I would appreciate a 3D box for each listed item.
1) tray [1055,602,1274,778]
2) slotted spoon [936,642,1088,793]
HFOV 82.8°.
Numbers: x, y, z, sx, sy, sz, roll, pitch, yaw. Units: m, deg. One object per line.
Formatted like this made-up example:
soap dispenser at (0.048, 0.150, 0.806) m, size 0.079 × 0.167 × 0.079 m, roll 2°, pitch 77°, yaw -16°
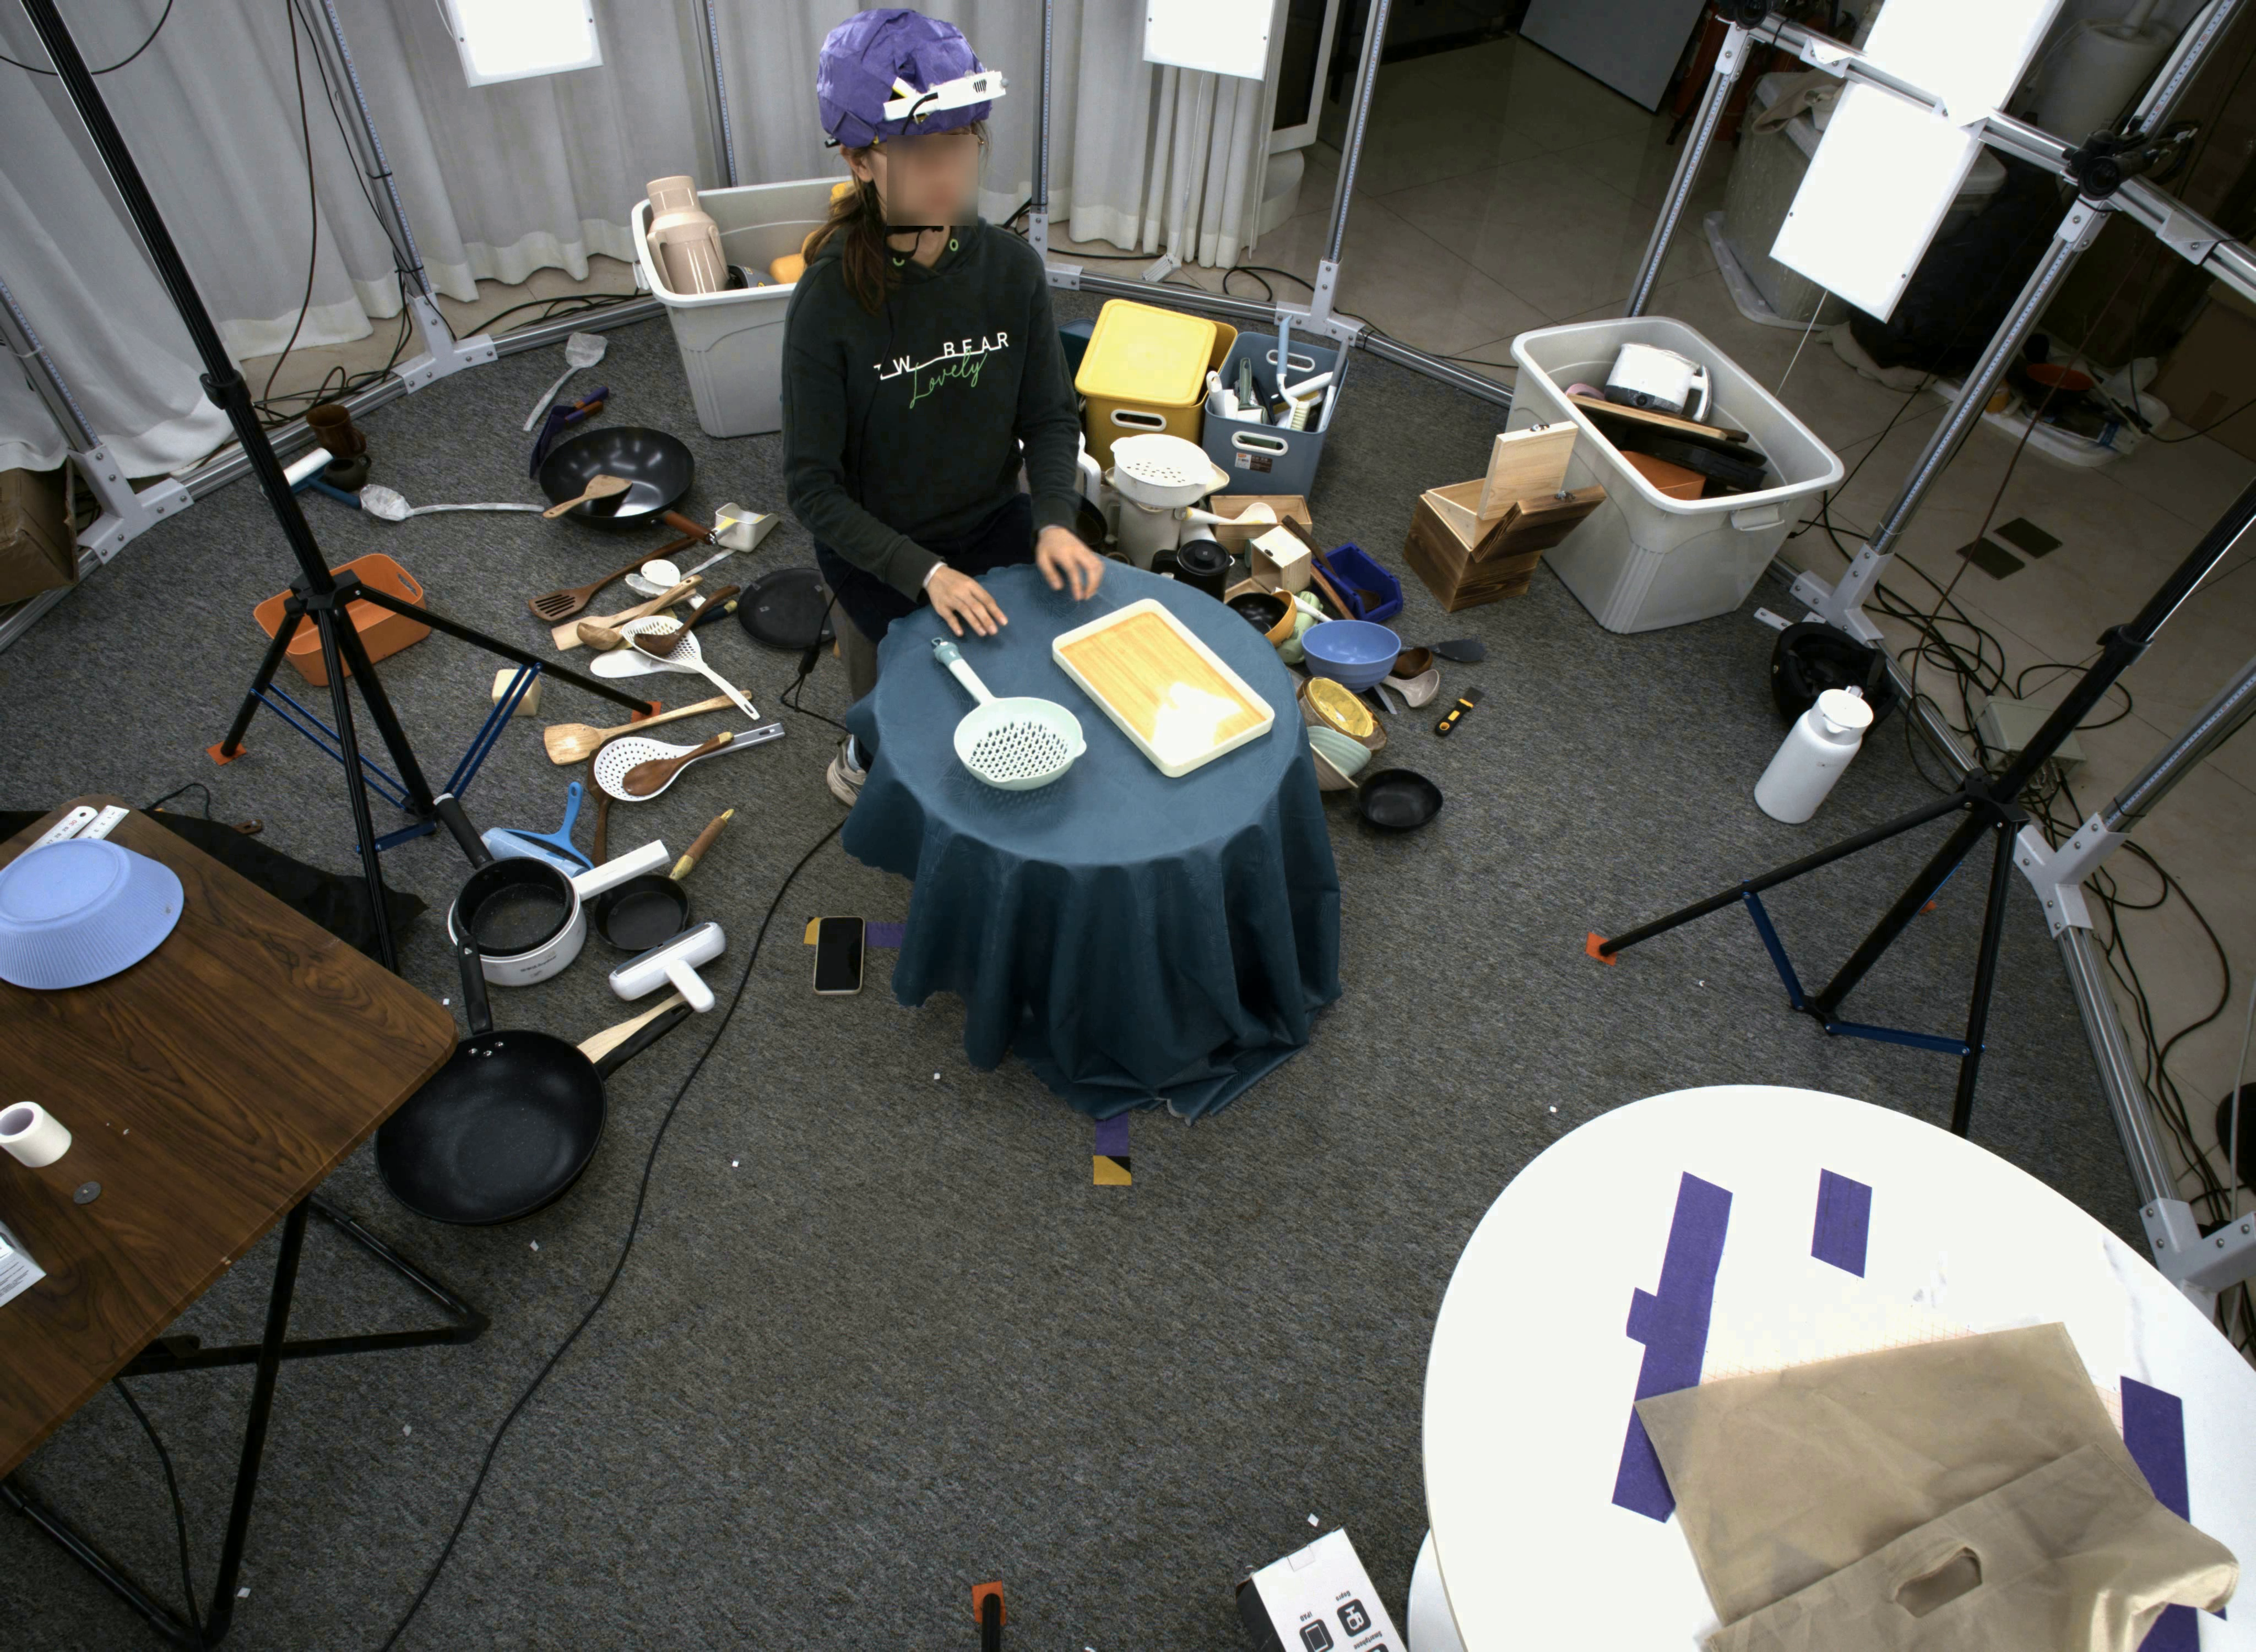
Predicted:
tray at (0.049, -0.202, 1.847) m, size 0.192 × 0.027 × 0.306 m, roll -26°, pitch 56°, yaw -24°
slotted spoon at (-0.191, -0.166, 1.774) m, size 0.170 × 0.073 × 0.366 m, roll -20°, pitch 53°, yaw -21°
